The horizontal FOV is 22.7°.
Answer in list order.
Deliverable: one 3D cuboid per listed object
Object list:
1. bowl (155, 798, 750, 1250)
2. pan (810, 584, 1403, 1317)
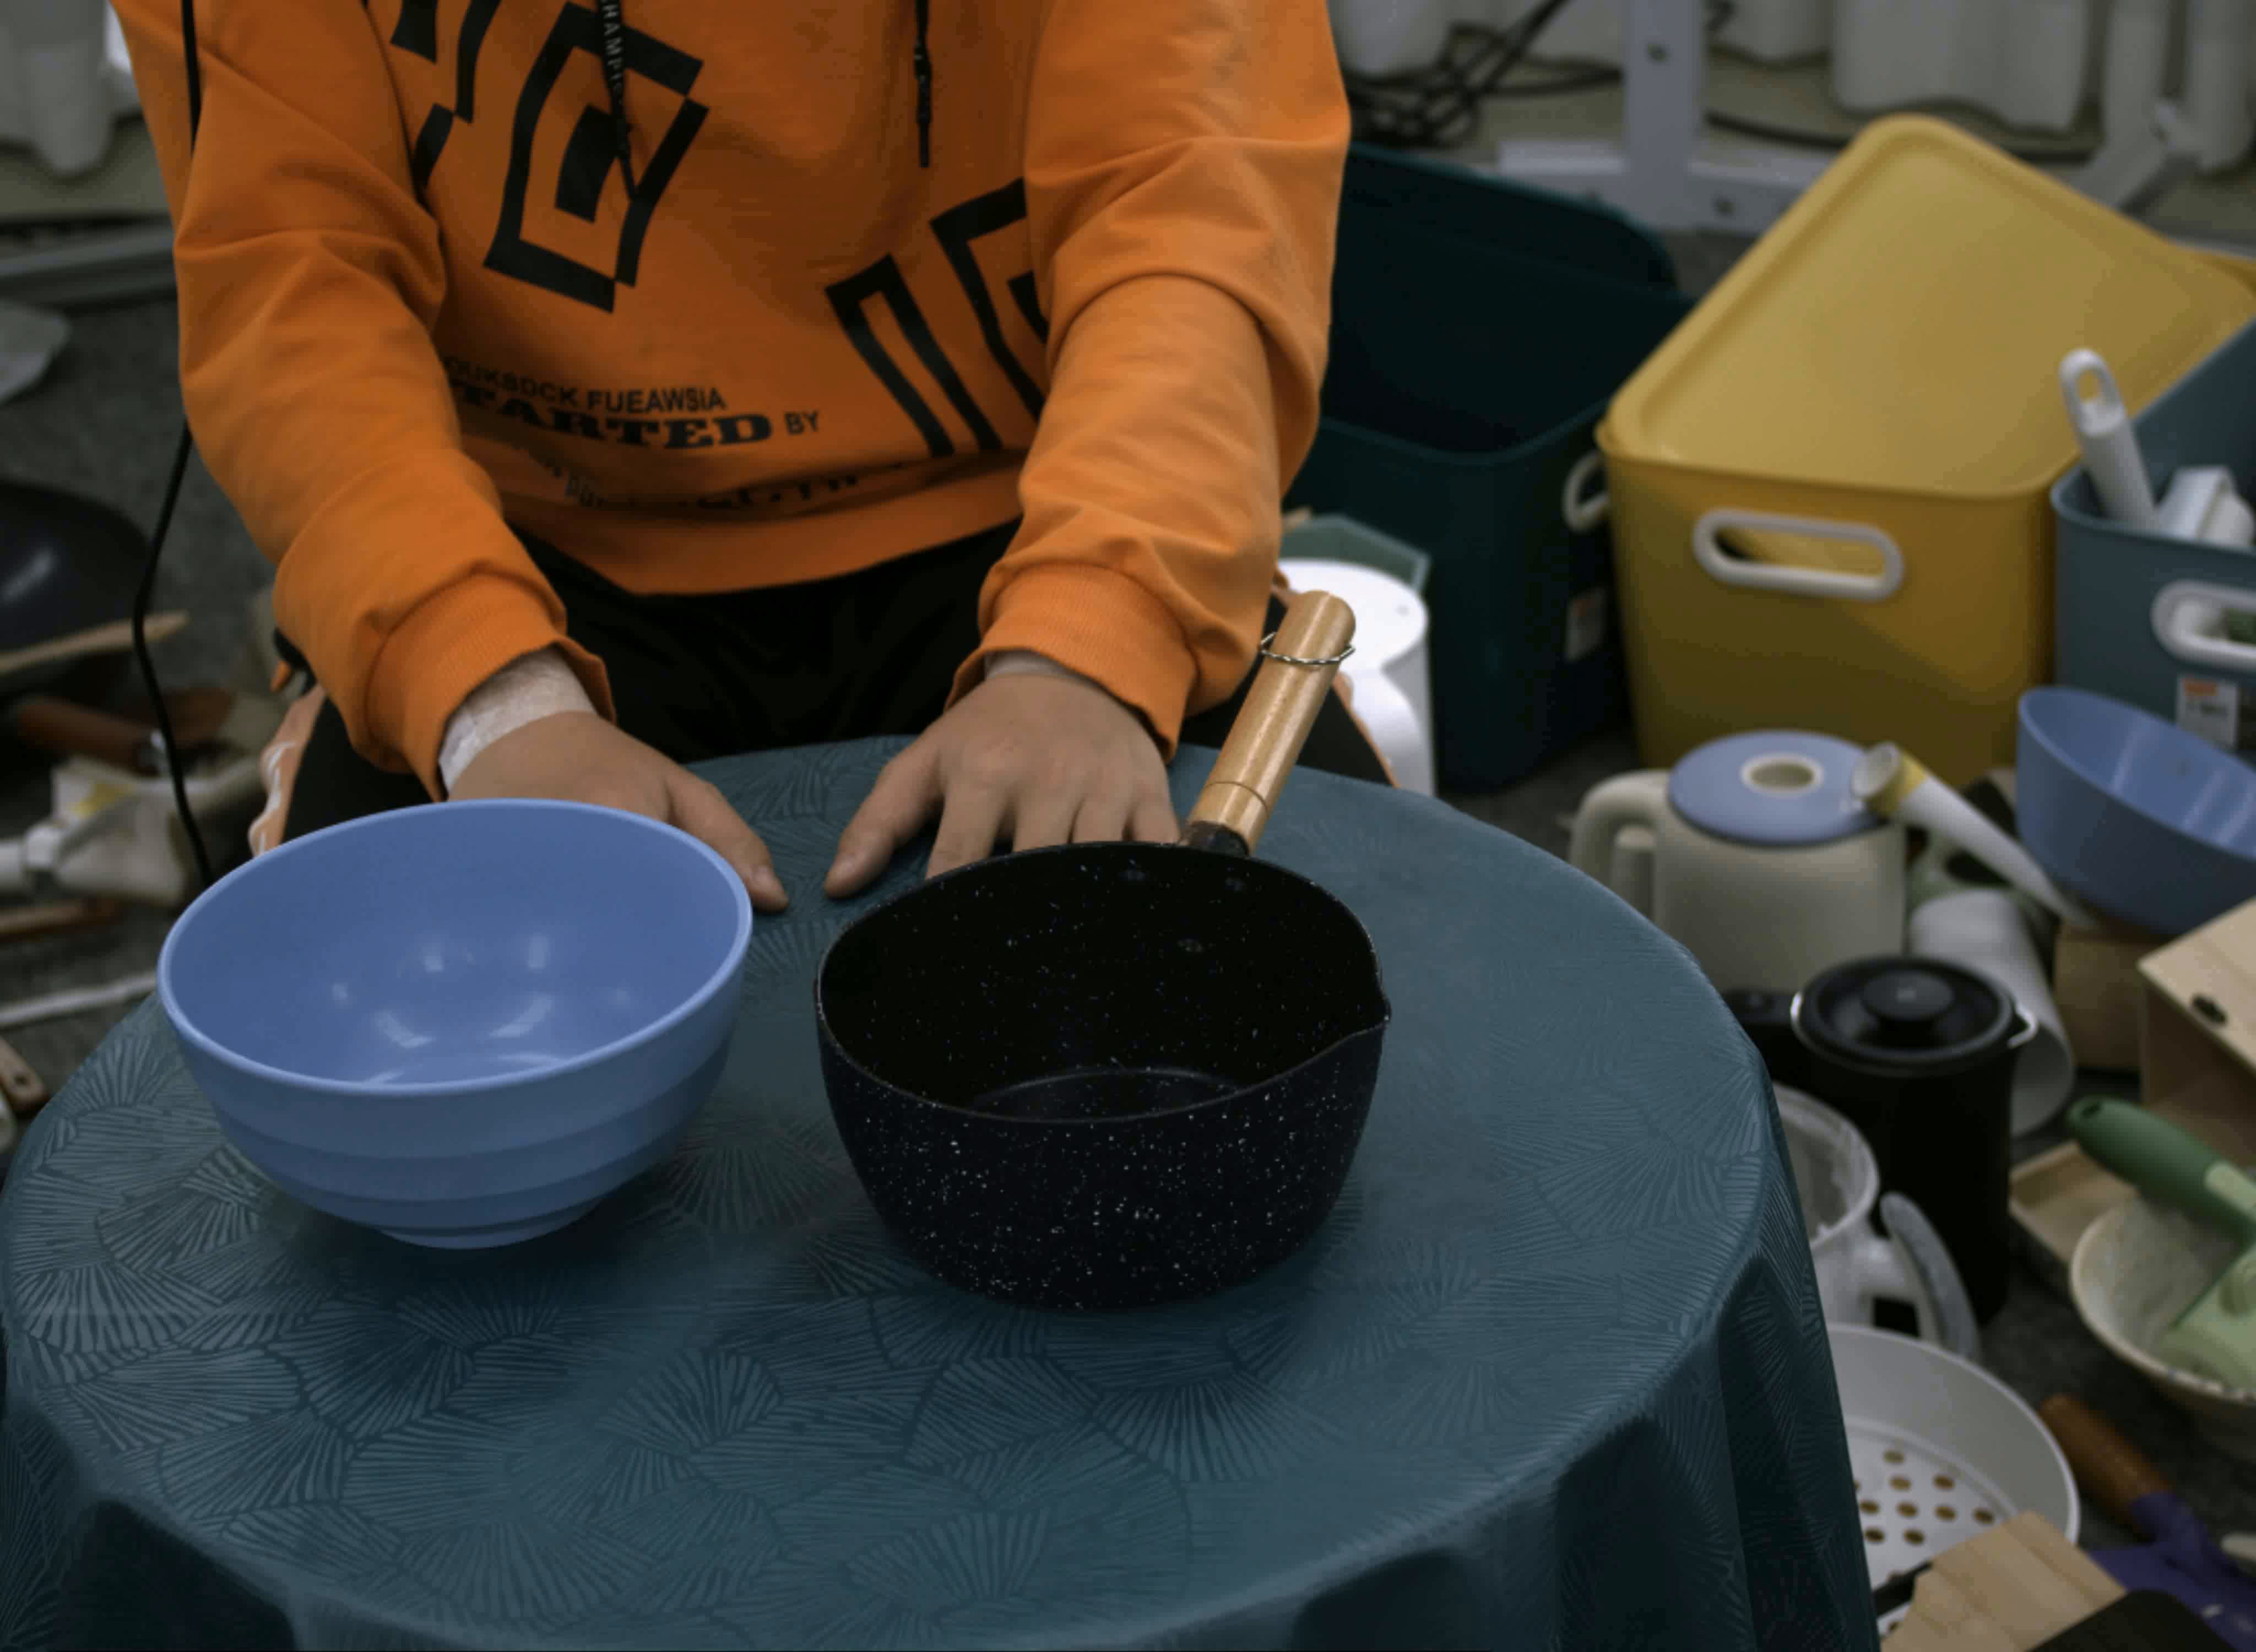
[{"bbox_3d":[-0.219,0.077,1.867,0.195,0.094,0.199,-3,28,2],"label":"bowl"},{"bbox_3d":[0.017,0.039,1.905,0.206,0.107,0.349,5,30,18],"label":"pan"}]
